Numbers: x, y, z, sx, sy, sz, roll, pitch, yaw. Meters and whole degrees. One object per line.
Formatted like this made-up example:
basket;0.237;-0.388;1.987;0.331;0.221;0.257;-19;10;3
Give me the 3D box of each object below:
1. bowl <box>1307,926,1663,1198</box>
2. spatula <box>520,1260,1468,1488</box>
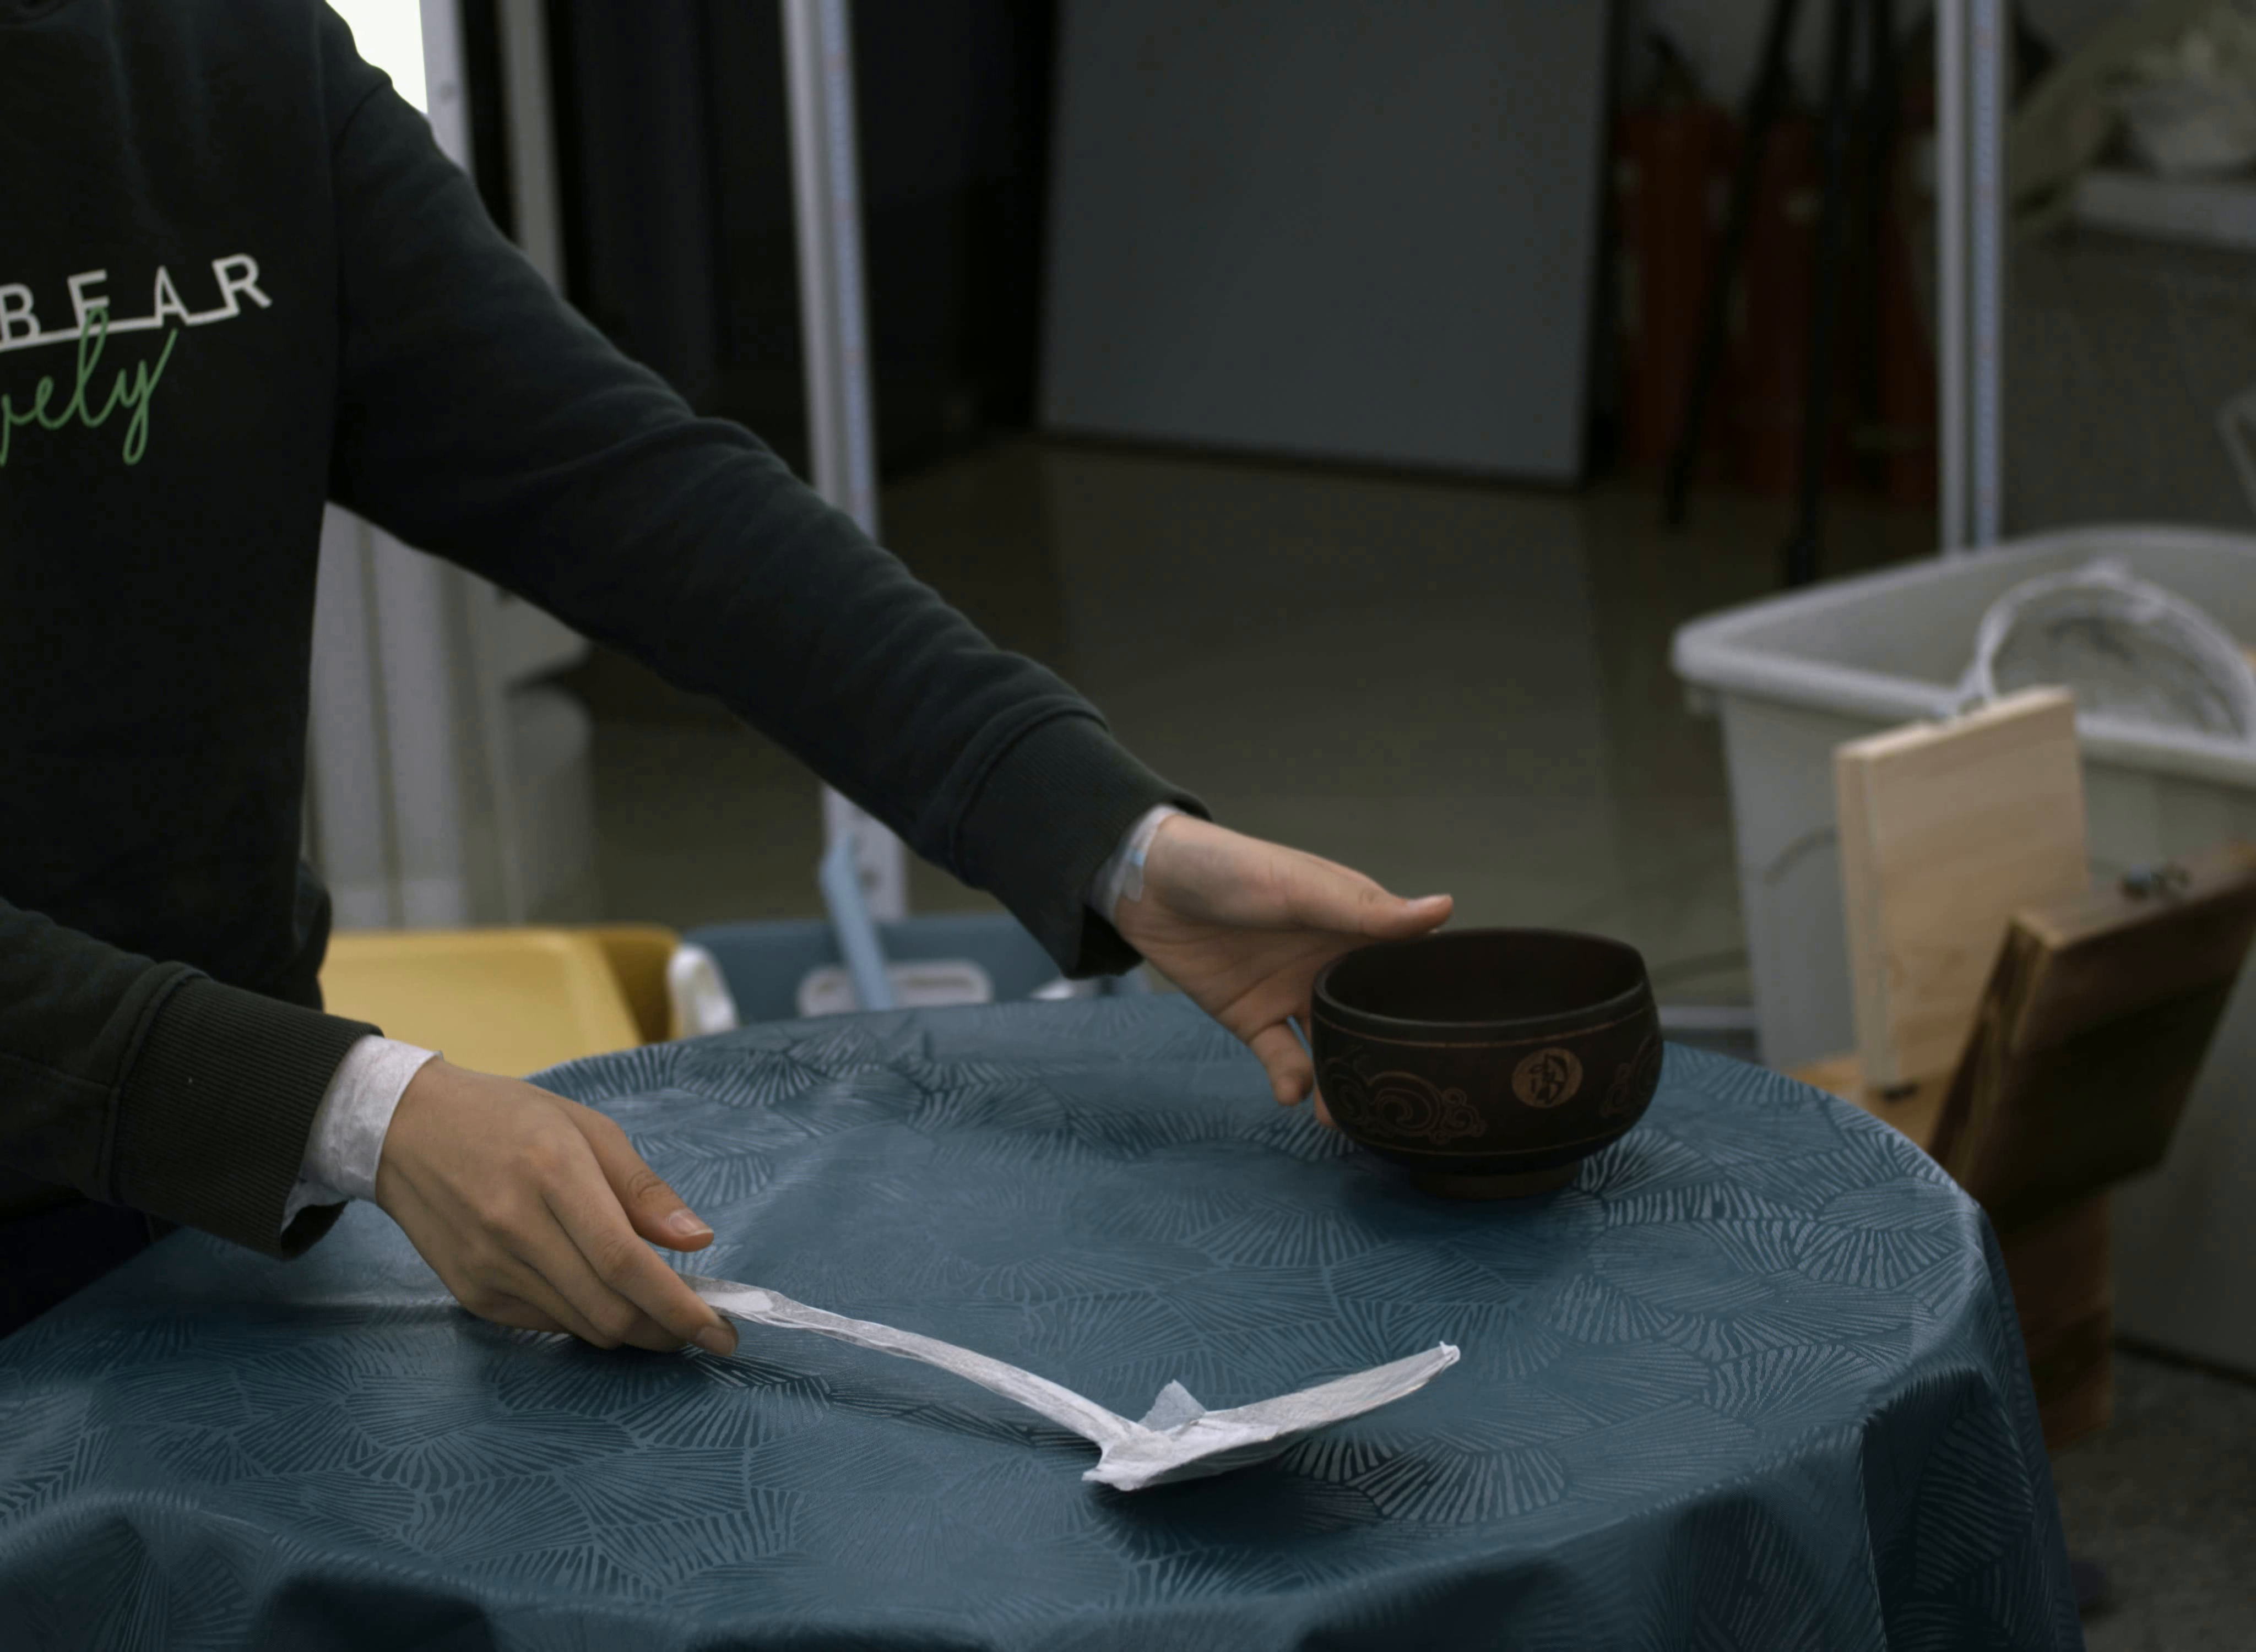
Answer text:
bowl;0.117;0.080;1.755;0.116;0.070;0.118;-5;12;0
spatula;-0.061;0.149;1.587;0.368;0.045;0.097;10;21;41
